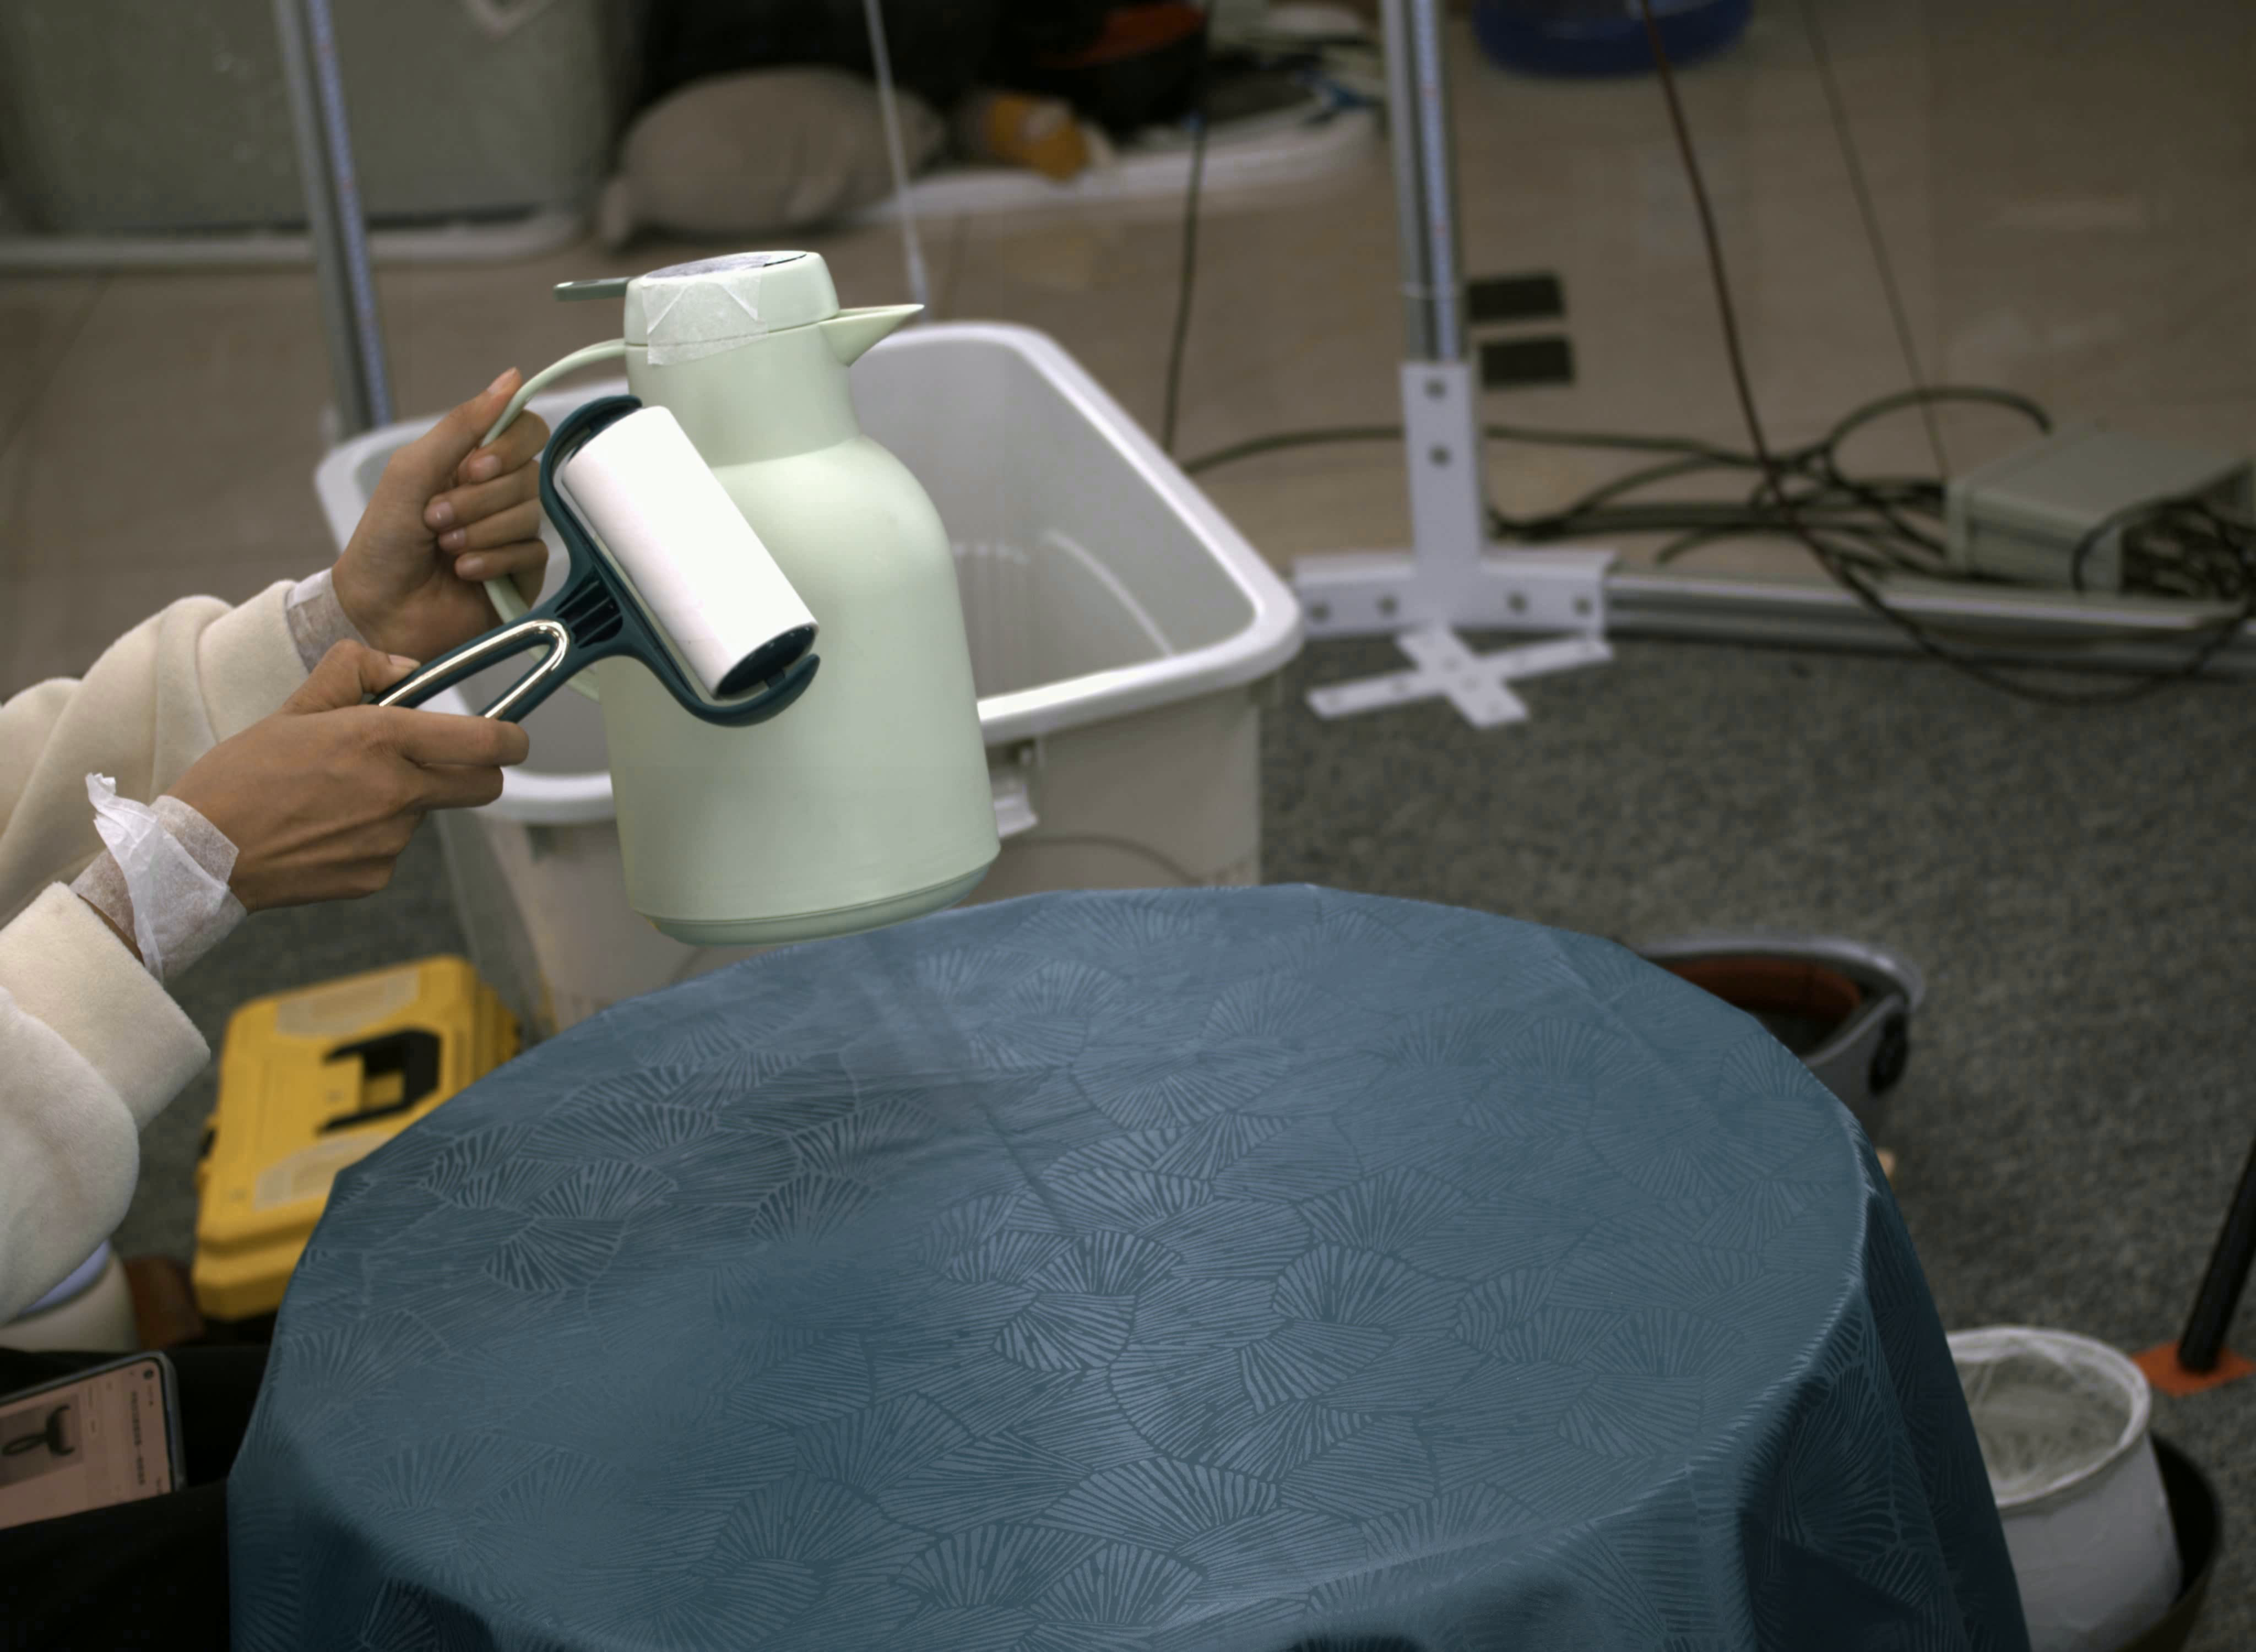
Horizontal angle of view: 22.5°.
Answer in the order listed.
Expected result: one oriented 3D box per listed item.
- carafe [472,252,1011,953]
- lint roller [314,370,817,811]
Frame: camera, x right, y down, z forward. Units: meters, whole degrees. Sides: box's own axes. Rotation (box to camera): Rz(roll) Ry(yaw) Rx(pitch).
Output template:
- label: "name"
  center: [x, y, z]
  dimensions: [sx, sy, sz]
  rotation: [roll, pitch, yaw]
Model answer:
- label: "carafe"
  center: [-0.148, -0.087, 2.158]
  dimensions: [0.186, 0.259, 0.143]
  rotation: [-10, 14, 9]
- label: "lint roller"
  center: [-0.214, -0.064, 2.019]
  dimensions: [0.179, 0.133, 0.049]
  rotation: [-32, -11, -13]
